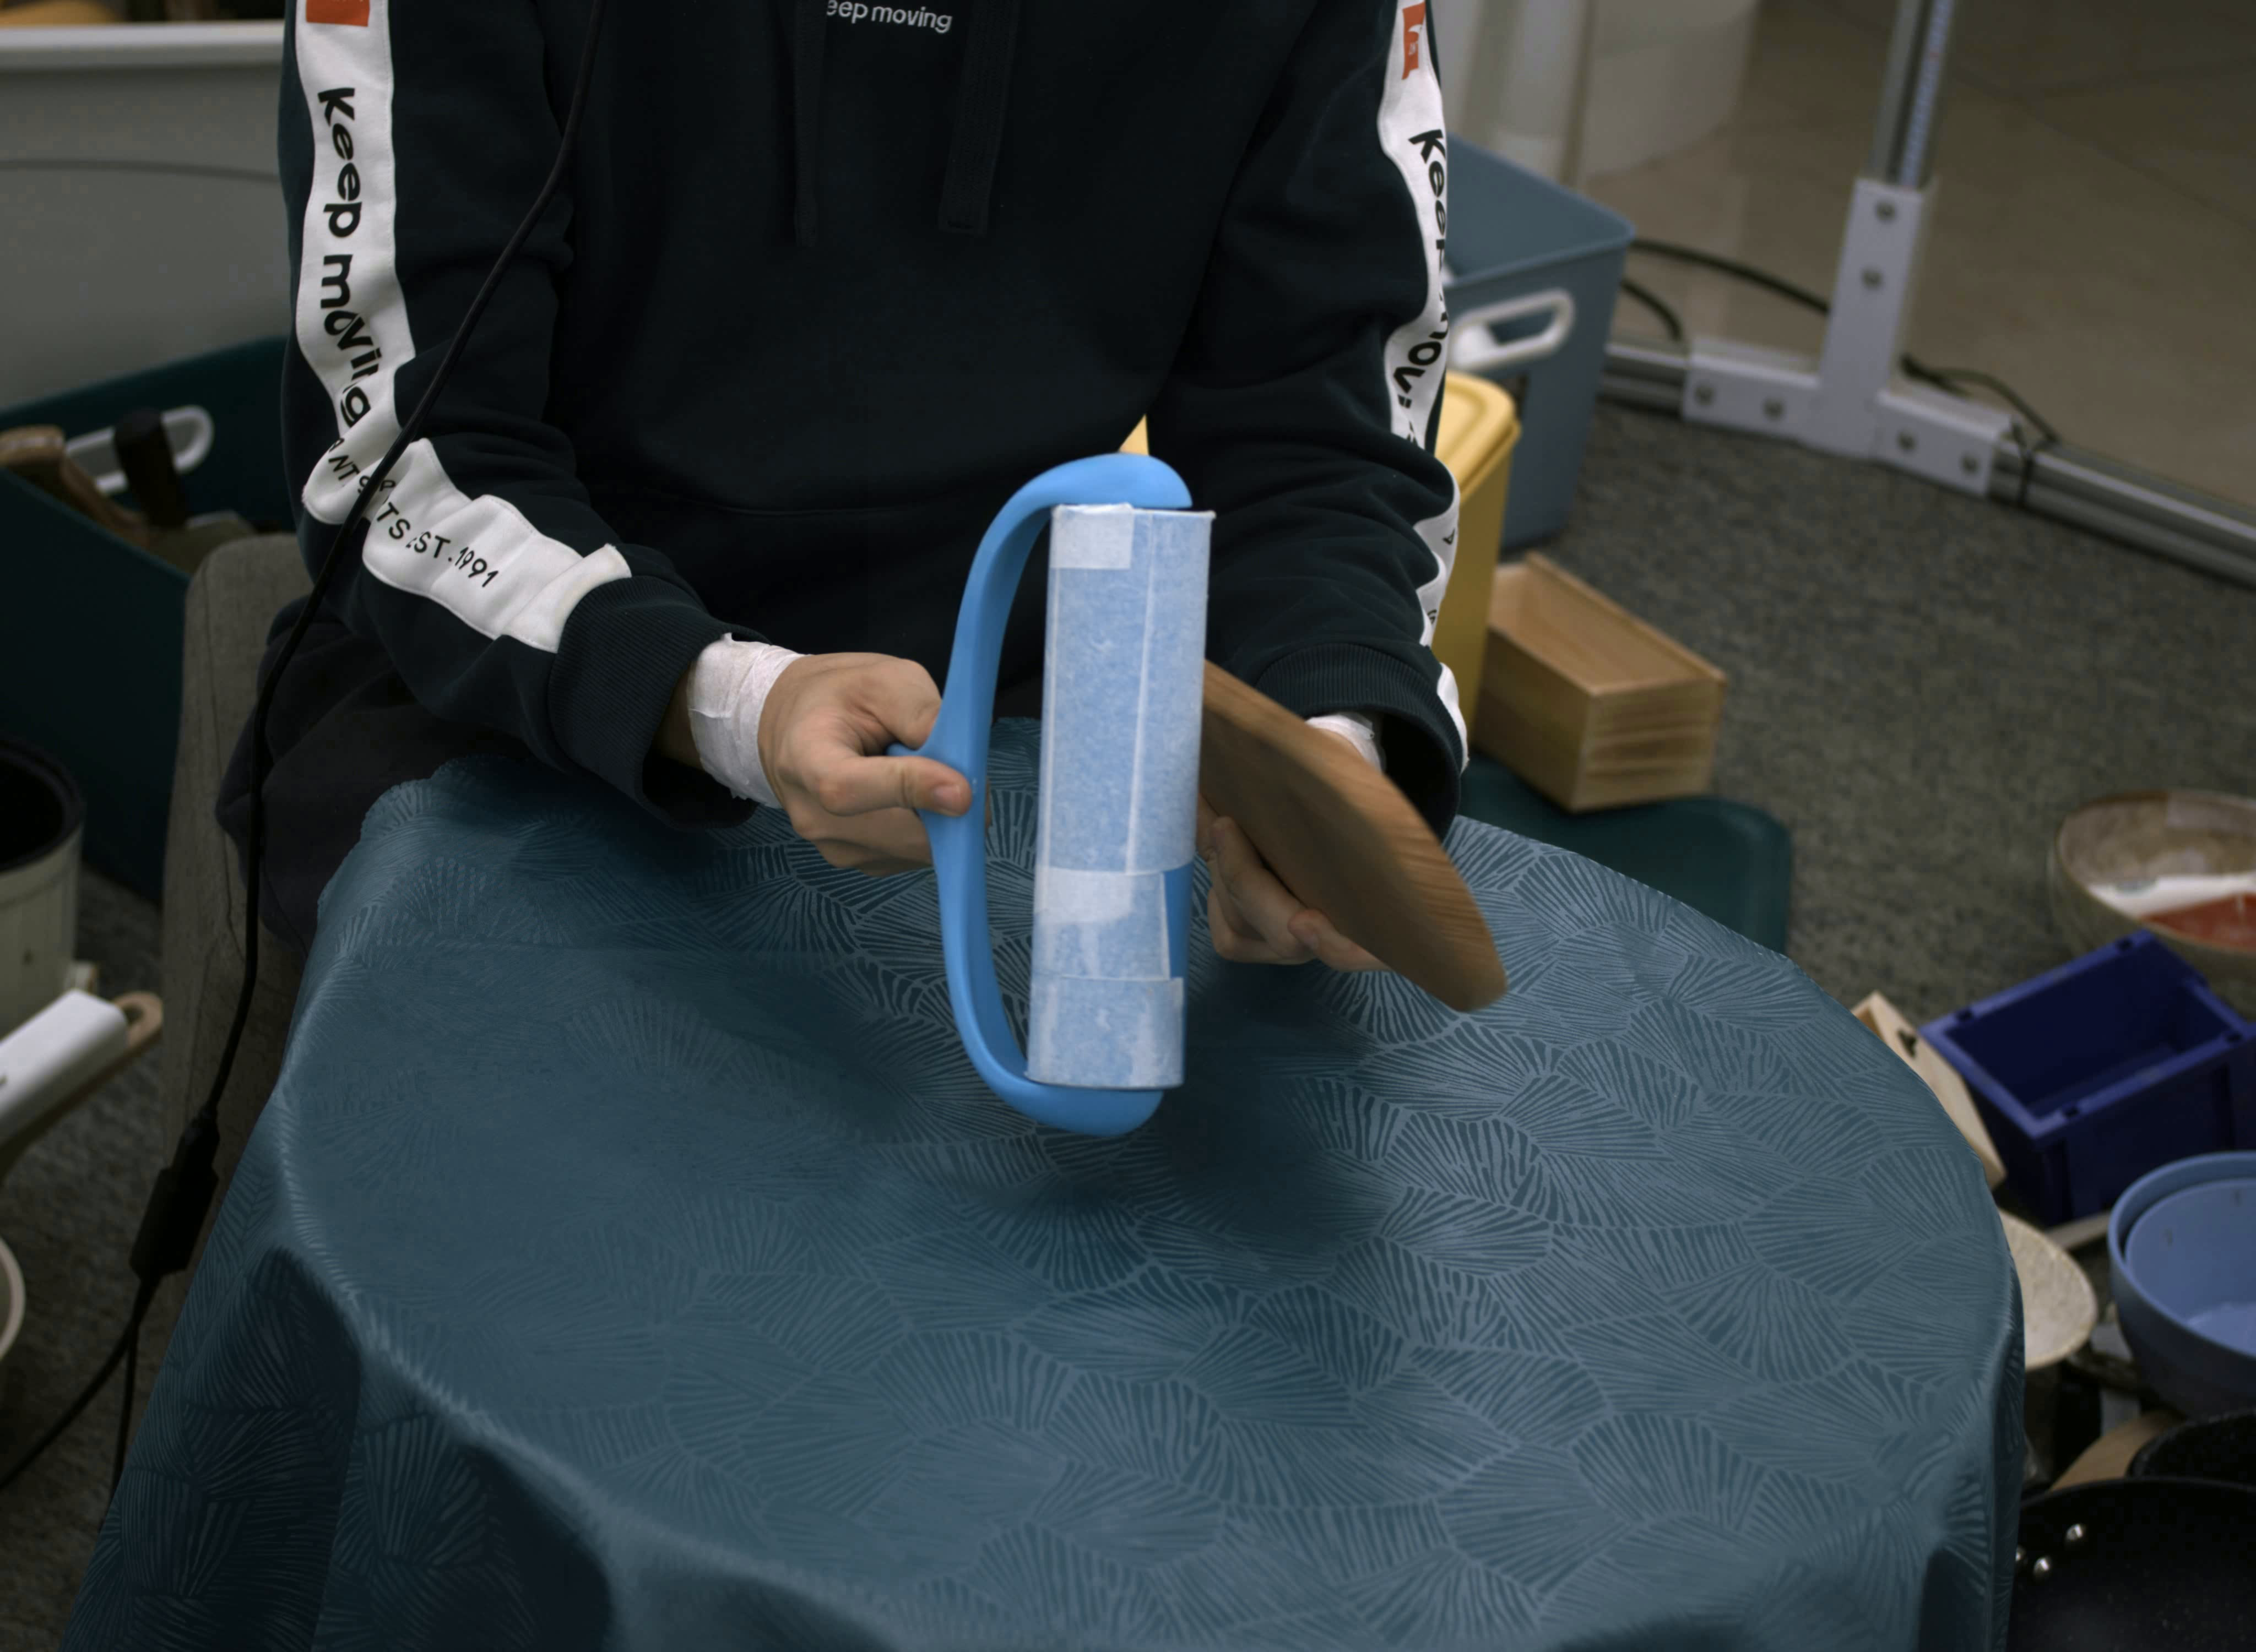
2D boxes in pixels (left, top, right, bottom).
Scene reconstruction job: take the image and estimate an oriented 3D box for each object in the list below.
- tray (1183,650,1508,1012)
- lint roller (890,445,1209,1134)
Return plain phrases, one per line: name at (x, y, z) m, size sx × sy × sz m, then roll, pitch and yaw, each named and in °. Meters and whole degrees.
tray at (0.066, 0.000, 1.821) m, size 0.020 × 0.101 × 0.233 m, roll -32°, pitch 25°, yaw -13°
lint roller at (-0.042, -0.013, 1.819) m, size 0.067 × 0.229 × 0.181 m, roll 0°, pitch 0°, yaw -39°
